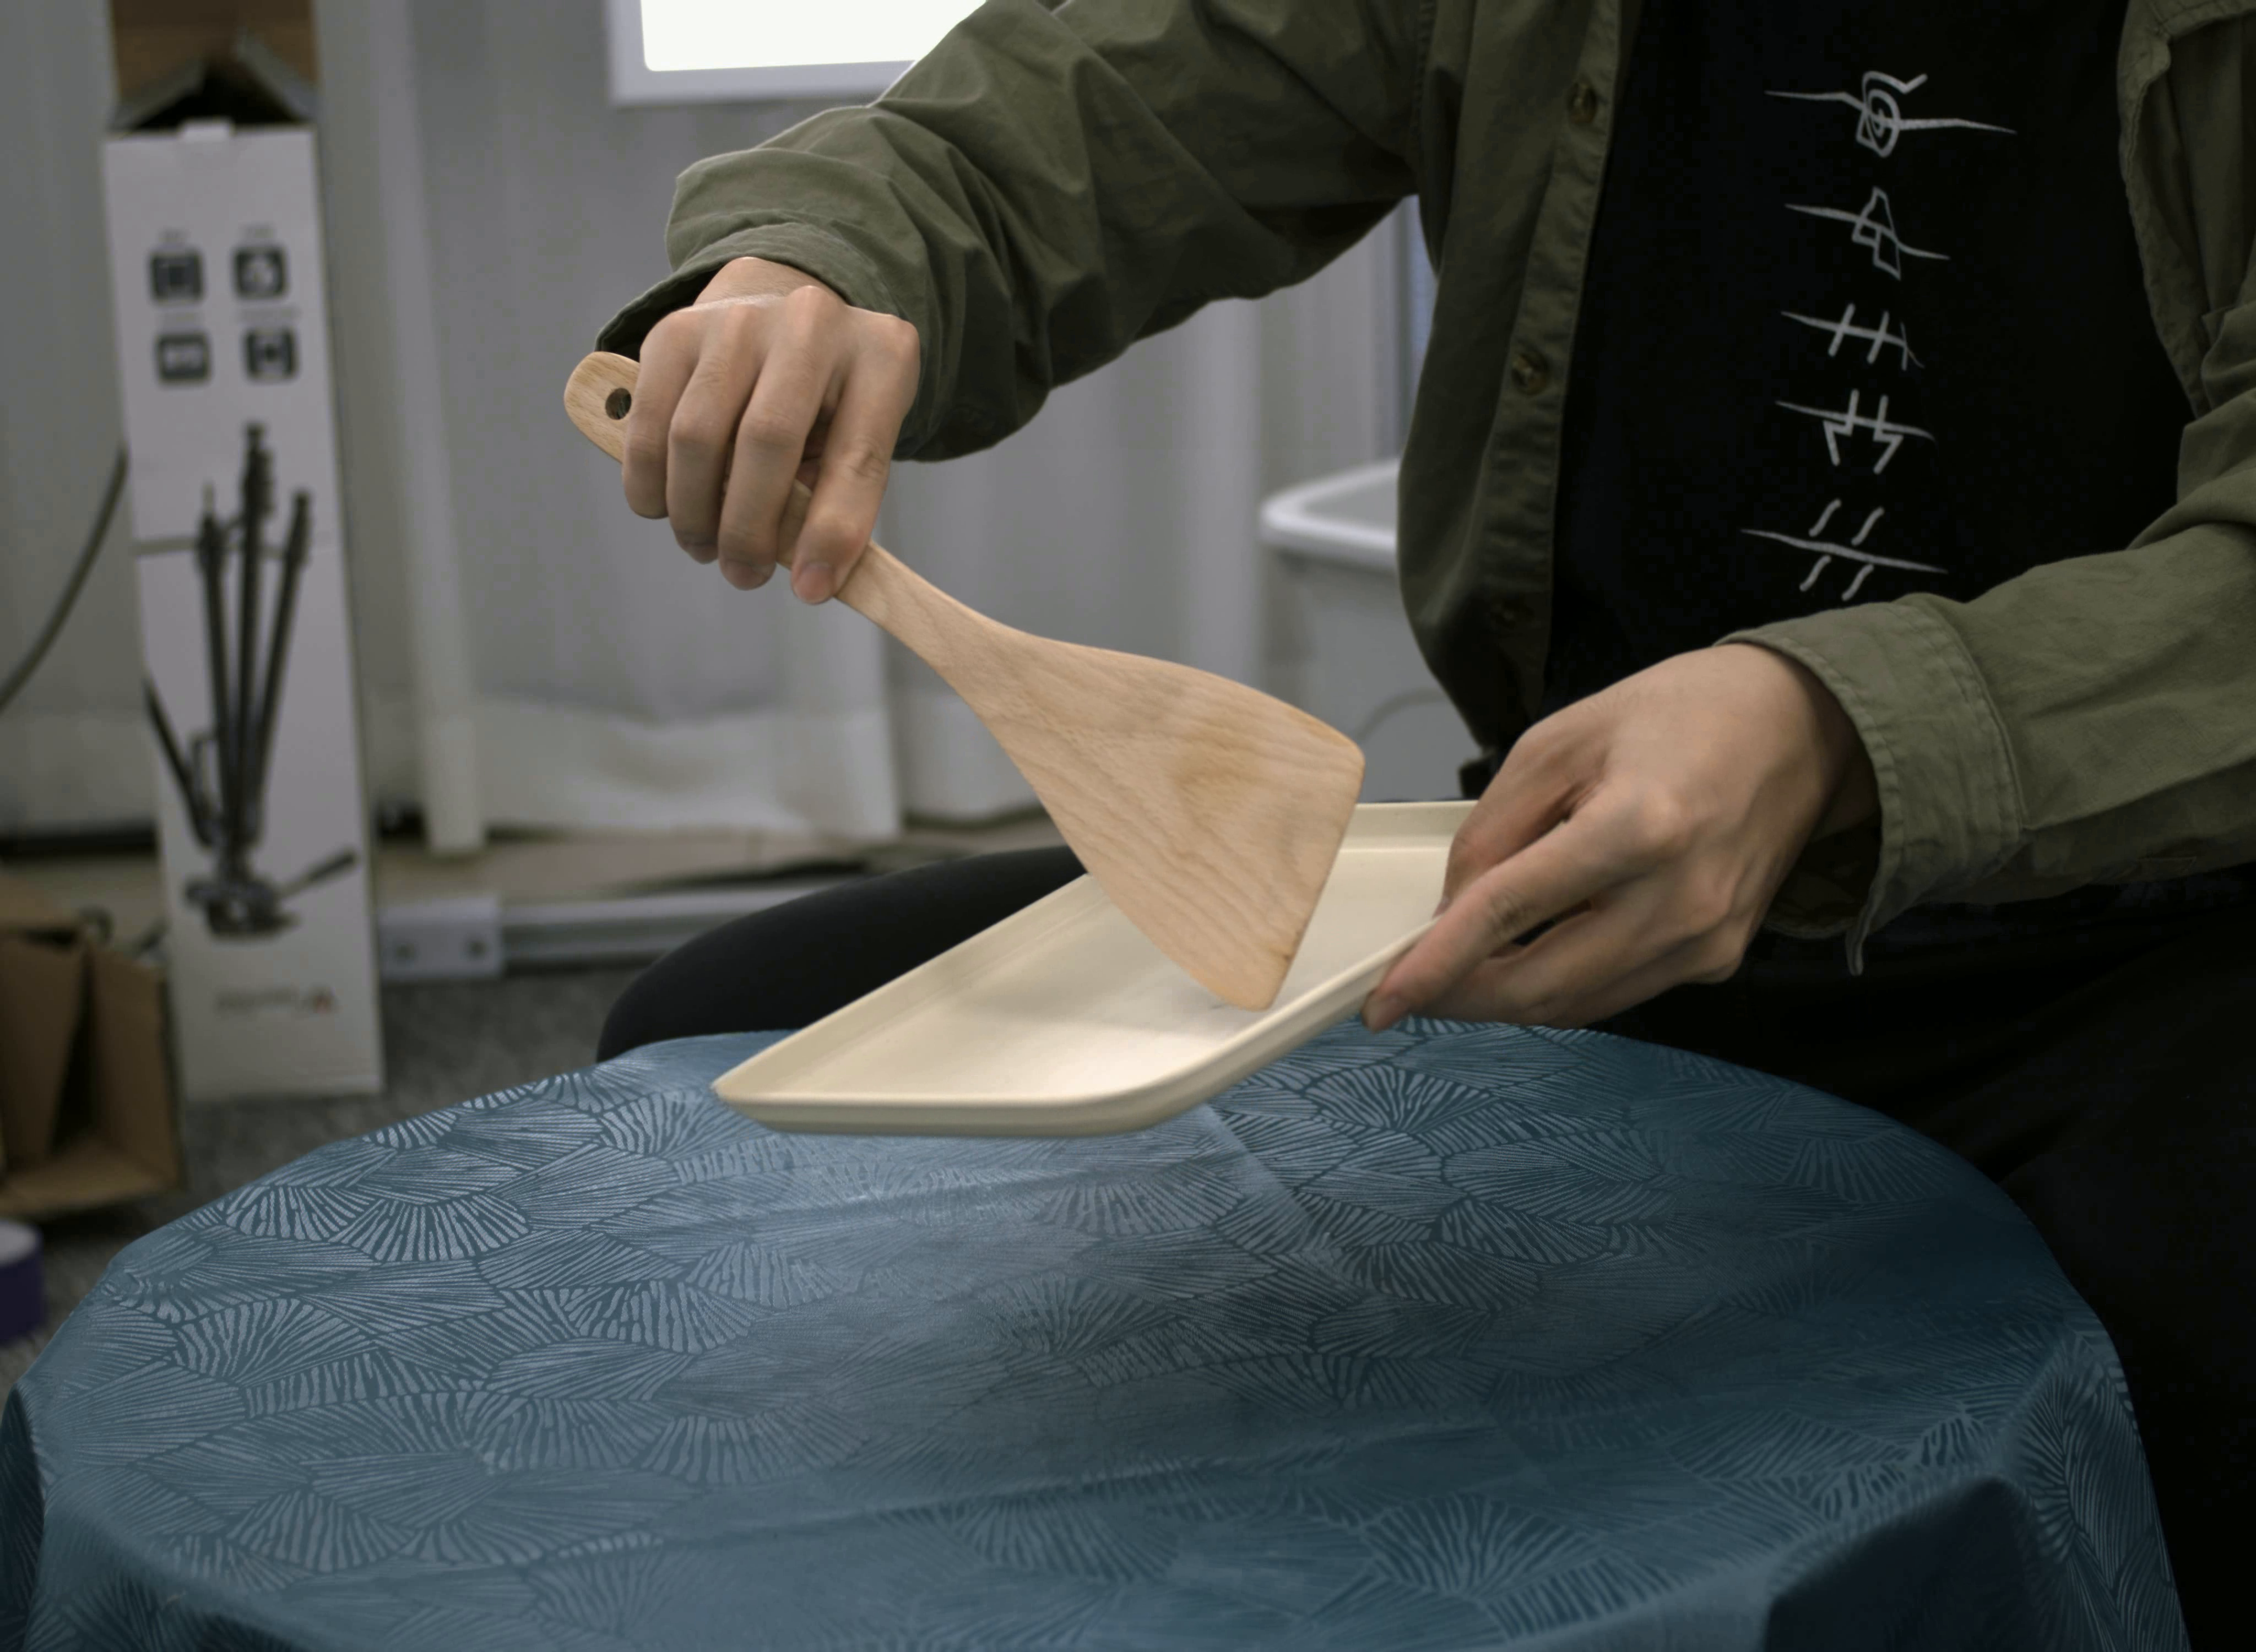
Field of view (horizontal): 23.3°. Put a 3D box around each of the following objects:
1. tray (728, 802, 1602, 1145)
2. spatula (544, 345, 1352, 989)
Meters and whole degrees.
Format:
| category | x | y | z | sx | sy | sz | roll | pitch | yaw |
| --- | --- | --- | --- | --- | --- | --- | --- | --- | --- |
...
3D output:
| category | x | y | z | sx | sy | sz | roll | pitch | yaw |
| --- | --- | --- | --- | --- | --- | --- | --- | --- | --- |
| tray | 0.014 | 0.041 | 1.551 | 0.171 | 0.017 | 0.240 | -1 | 19 | 42 |
| spatula | -0.060 | -0.063 | 1.574 | 0.331 | 0.080 | 0.016 | 34 | 8 | 32 |
